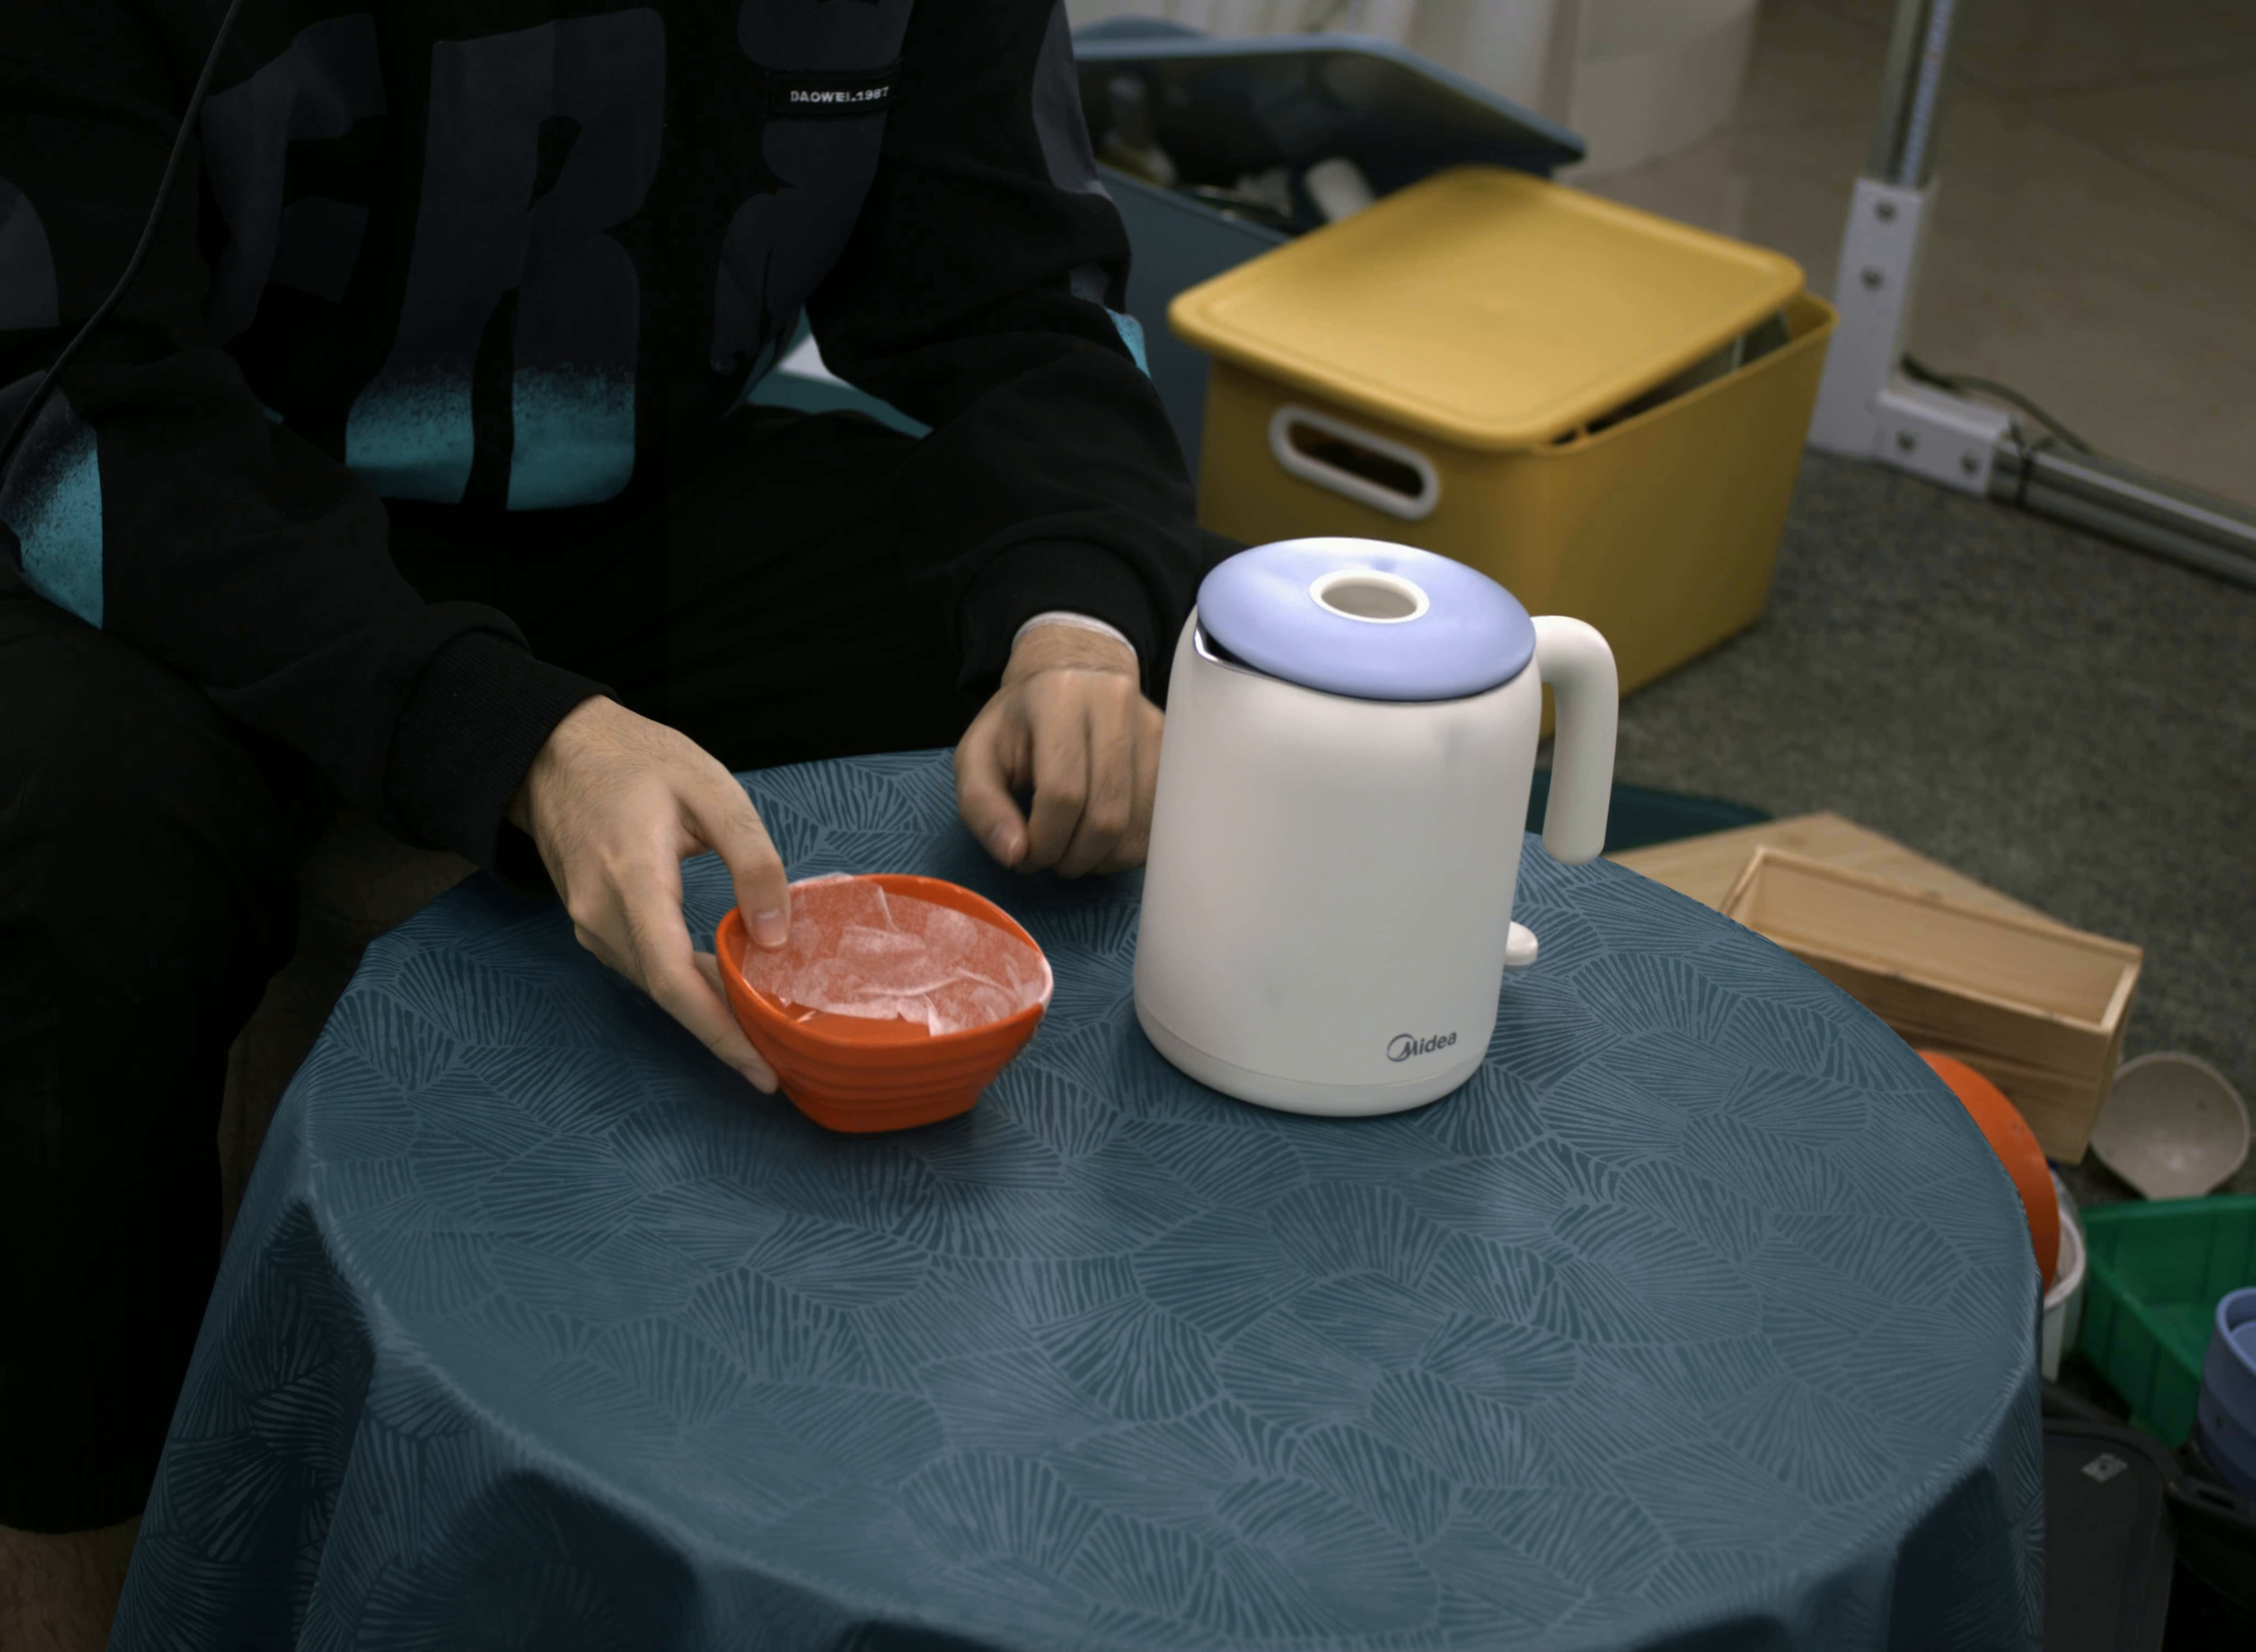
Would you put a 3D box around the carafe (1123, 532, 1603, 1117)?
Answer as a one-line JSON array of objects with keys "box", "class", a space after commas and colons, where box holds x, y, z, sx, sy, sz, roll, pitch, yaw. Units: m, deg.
[{"box": [0.092, -0.005, 1.884, 0.190, 0.182, 0.133, -9, 32, -34], "class": "carafe"}]

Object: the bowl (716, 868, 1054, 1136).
[{"box": [-0.085, 0.065, 1.828, 0.118, 0.051, 0.120, 4, 31, -3], "class": "bowl"}]
